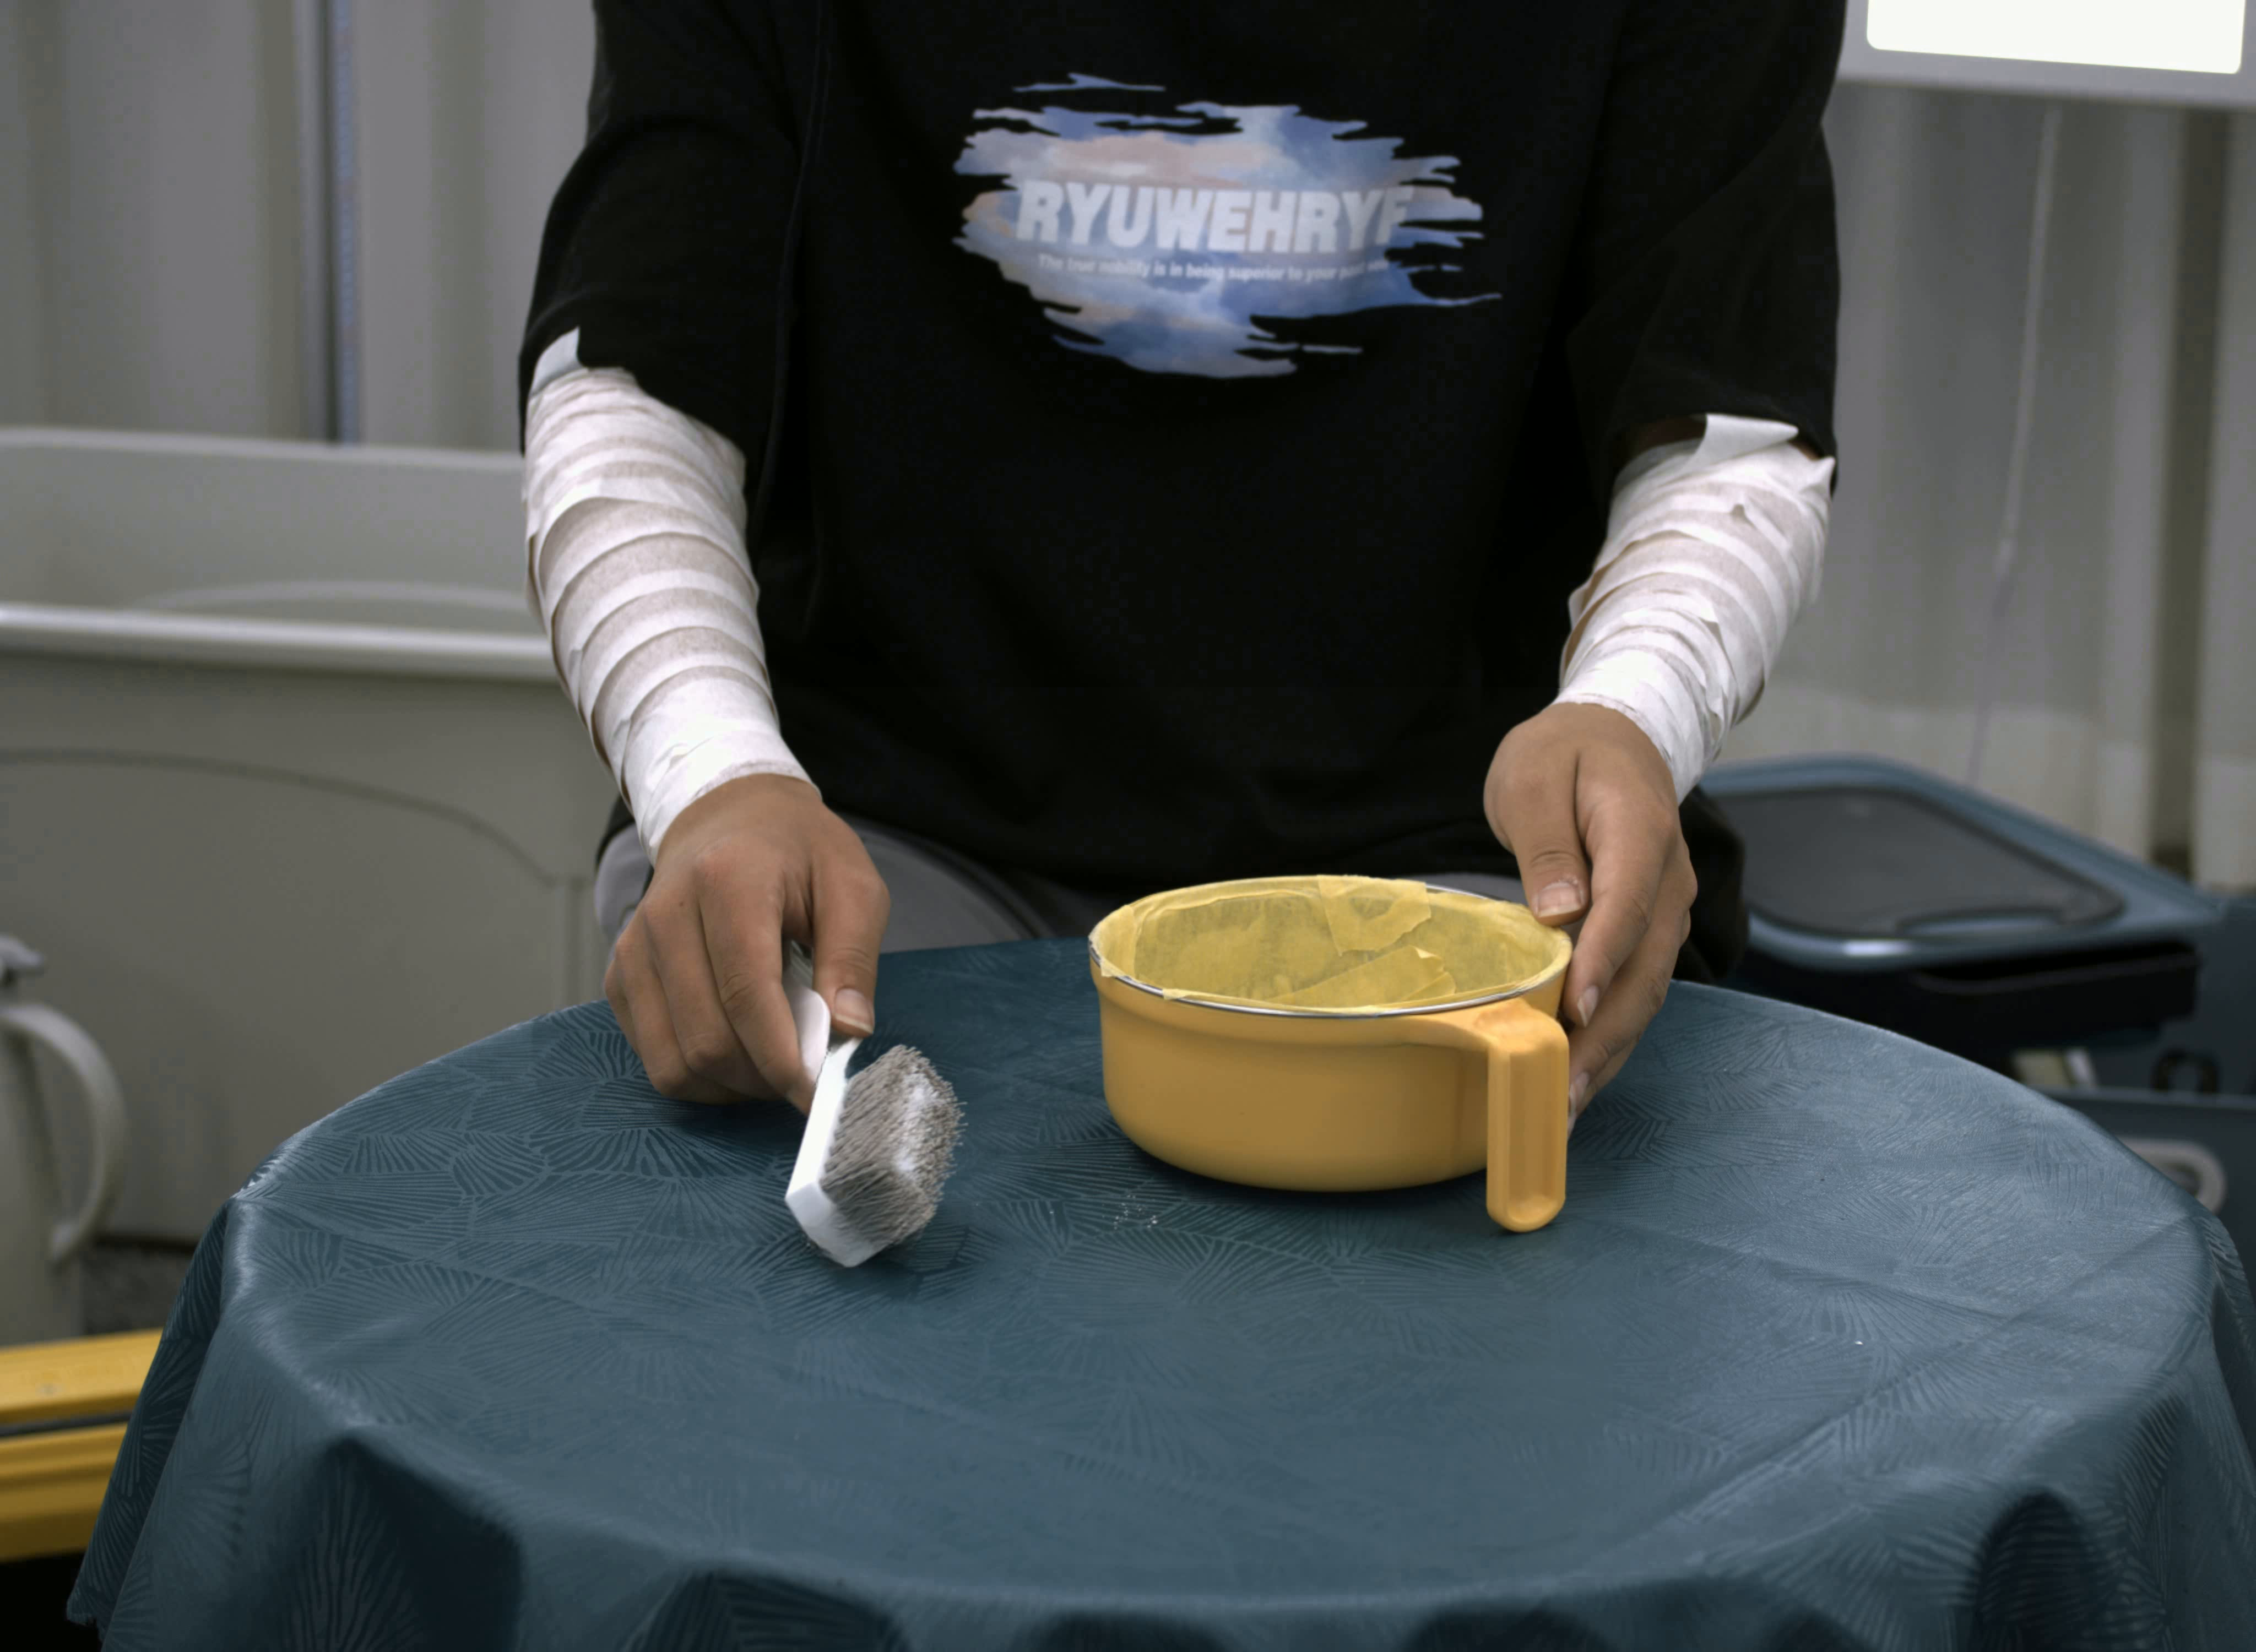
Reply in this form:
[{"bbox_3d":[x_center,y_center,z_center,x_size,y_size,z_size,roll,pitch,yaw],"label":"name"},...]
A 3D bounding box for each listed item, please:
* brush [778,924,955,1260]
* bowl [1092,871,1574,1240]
[{"bbox_3d":[-0.082,0.068,1.645,0.050,0.034,0.242,-41,17,11],"label":"brush"},{"bbox_3d":[0.070,0.070,1.651,0.154,0.075,0.177,-6,17,-38],"label":"bowl"}]
